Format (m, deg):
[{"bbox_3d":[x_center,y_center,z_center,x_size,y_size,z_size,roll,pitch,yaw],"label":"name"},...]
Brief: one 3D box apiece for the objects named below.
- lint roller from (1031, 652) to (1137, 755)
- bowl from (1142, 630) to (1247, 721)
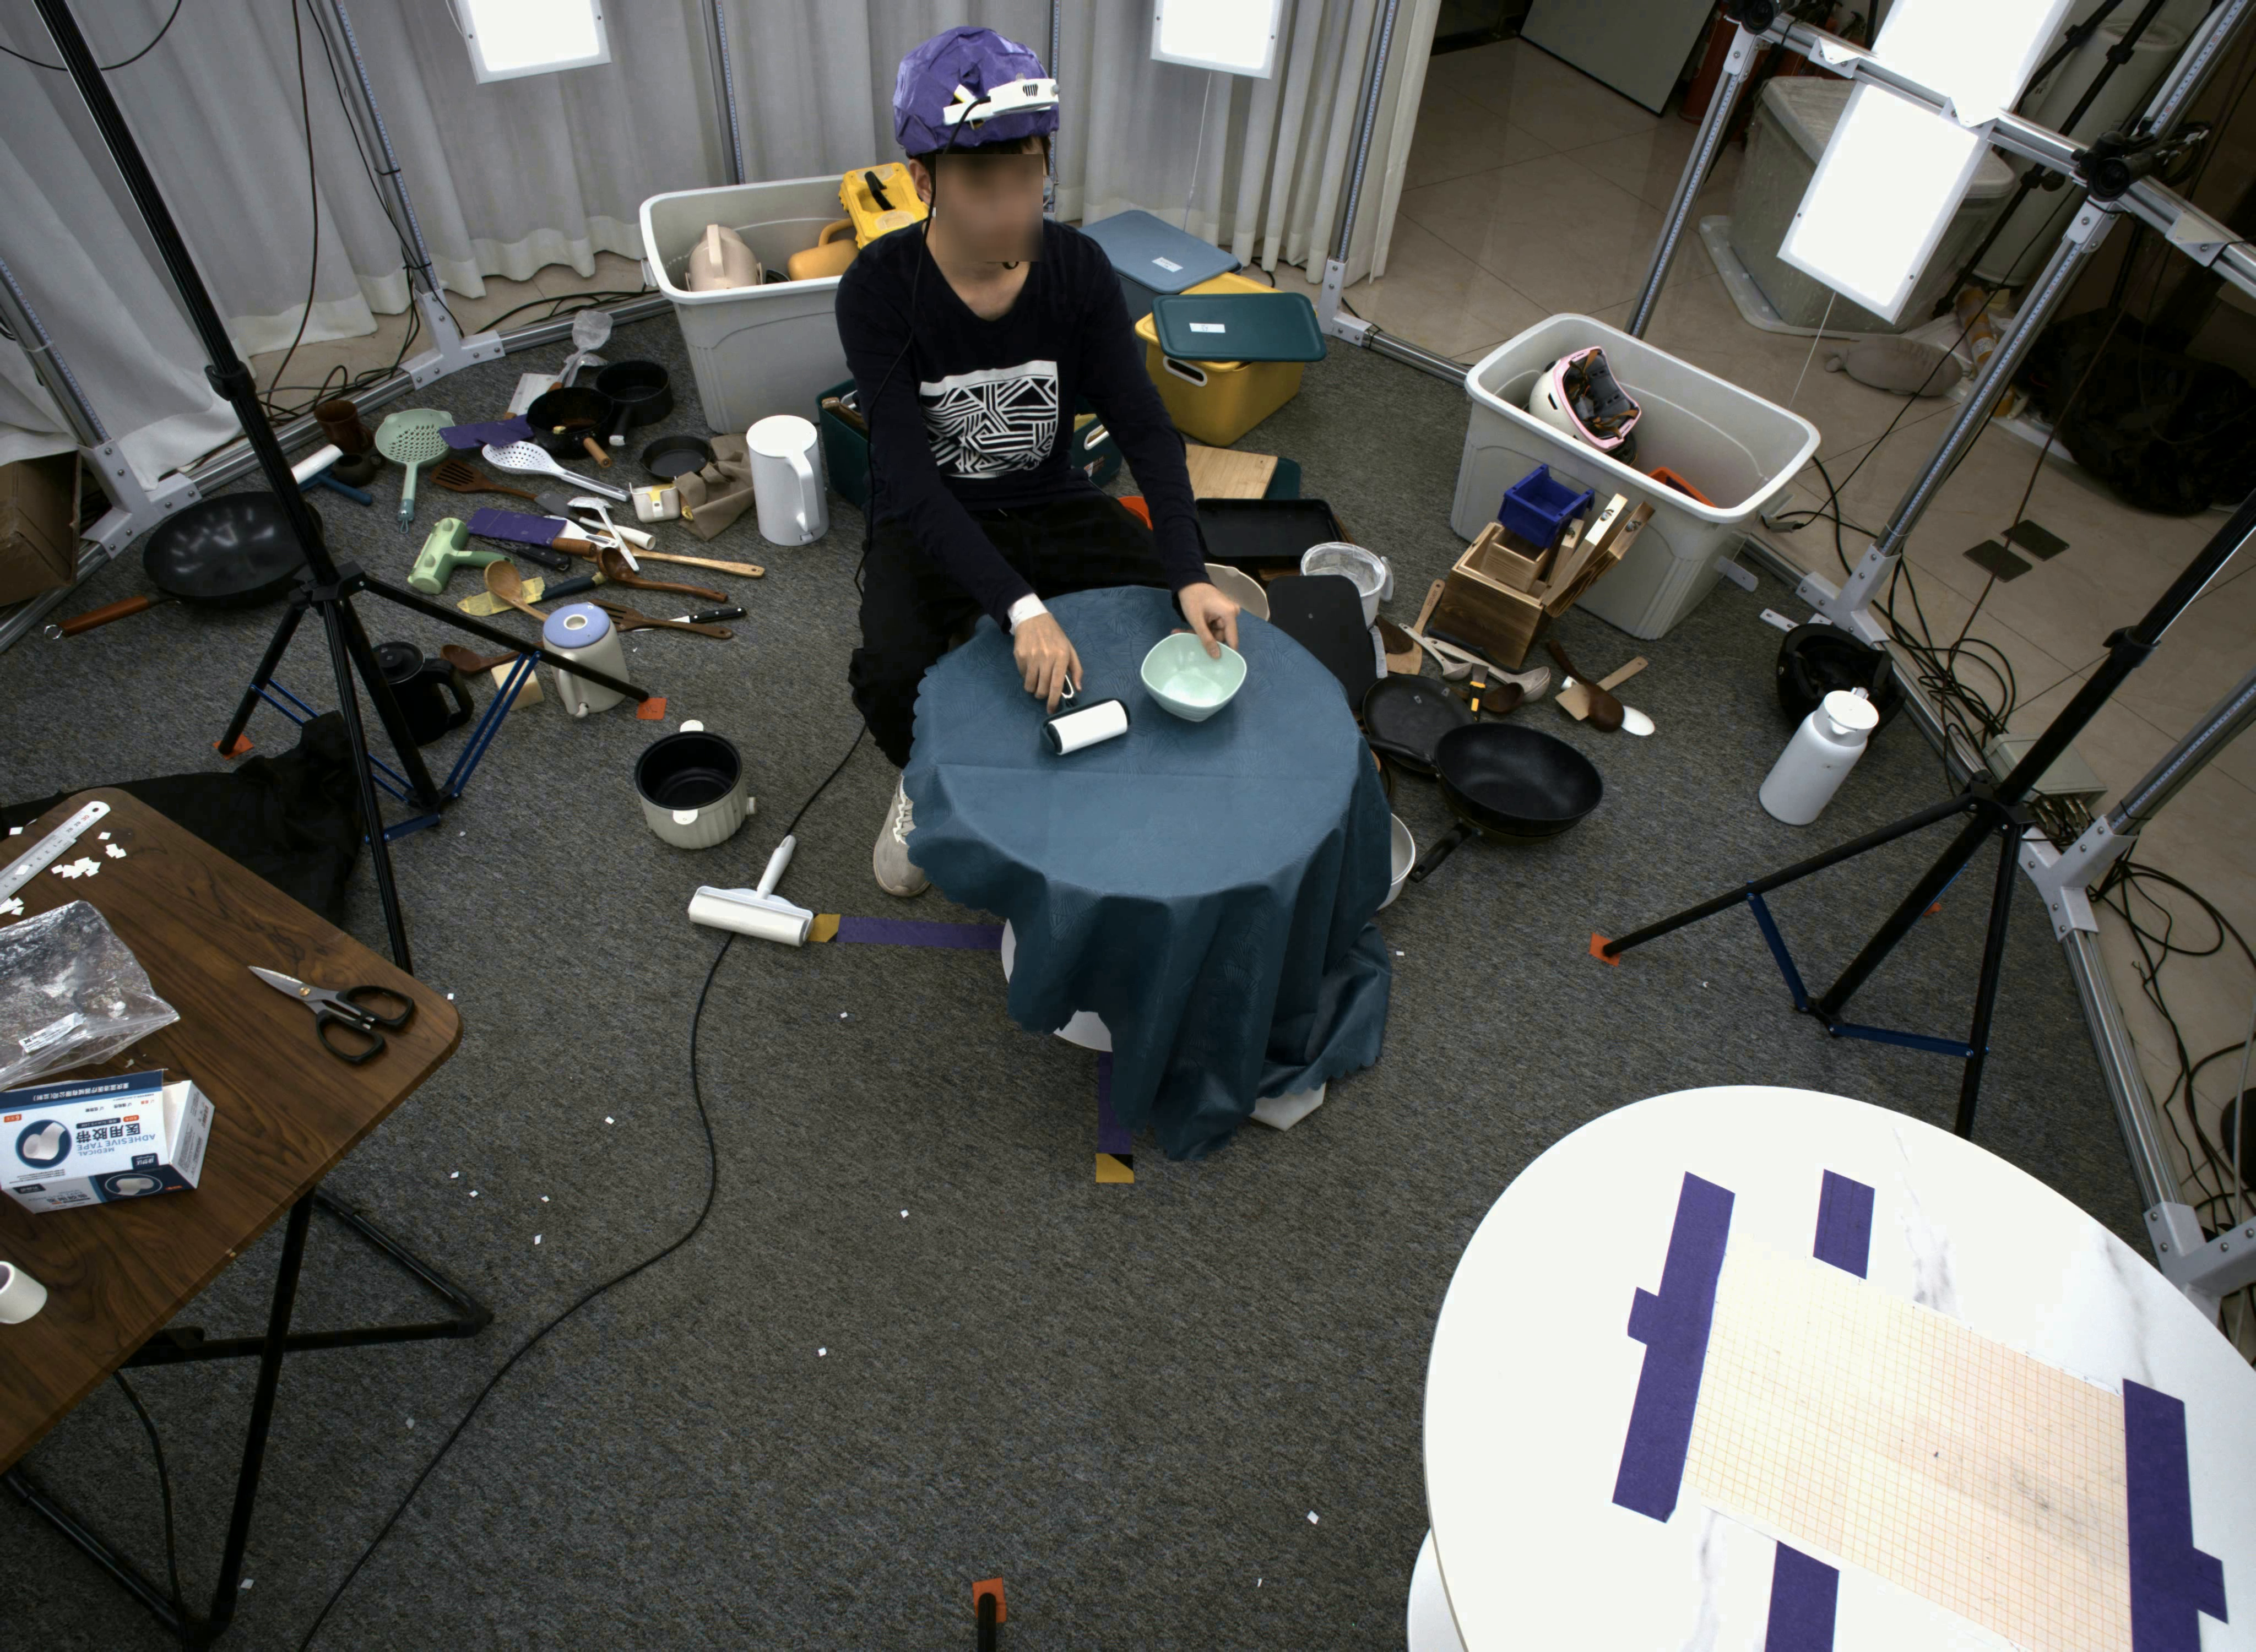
[{"bbox_3d":[-0.086,-0.187,1.779,0.134,0.047,0.183,-20,62,-20],"label":"lint roller"},{"bbox_3d":[0.091,-0.204,1.813,0.151,0.057,0.155,3,51,-4],"label":"bowl"}]
